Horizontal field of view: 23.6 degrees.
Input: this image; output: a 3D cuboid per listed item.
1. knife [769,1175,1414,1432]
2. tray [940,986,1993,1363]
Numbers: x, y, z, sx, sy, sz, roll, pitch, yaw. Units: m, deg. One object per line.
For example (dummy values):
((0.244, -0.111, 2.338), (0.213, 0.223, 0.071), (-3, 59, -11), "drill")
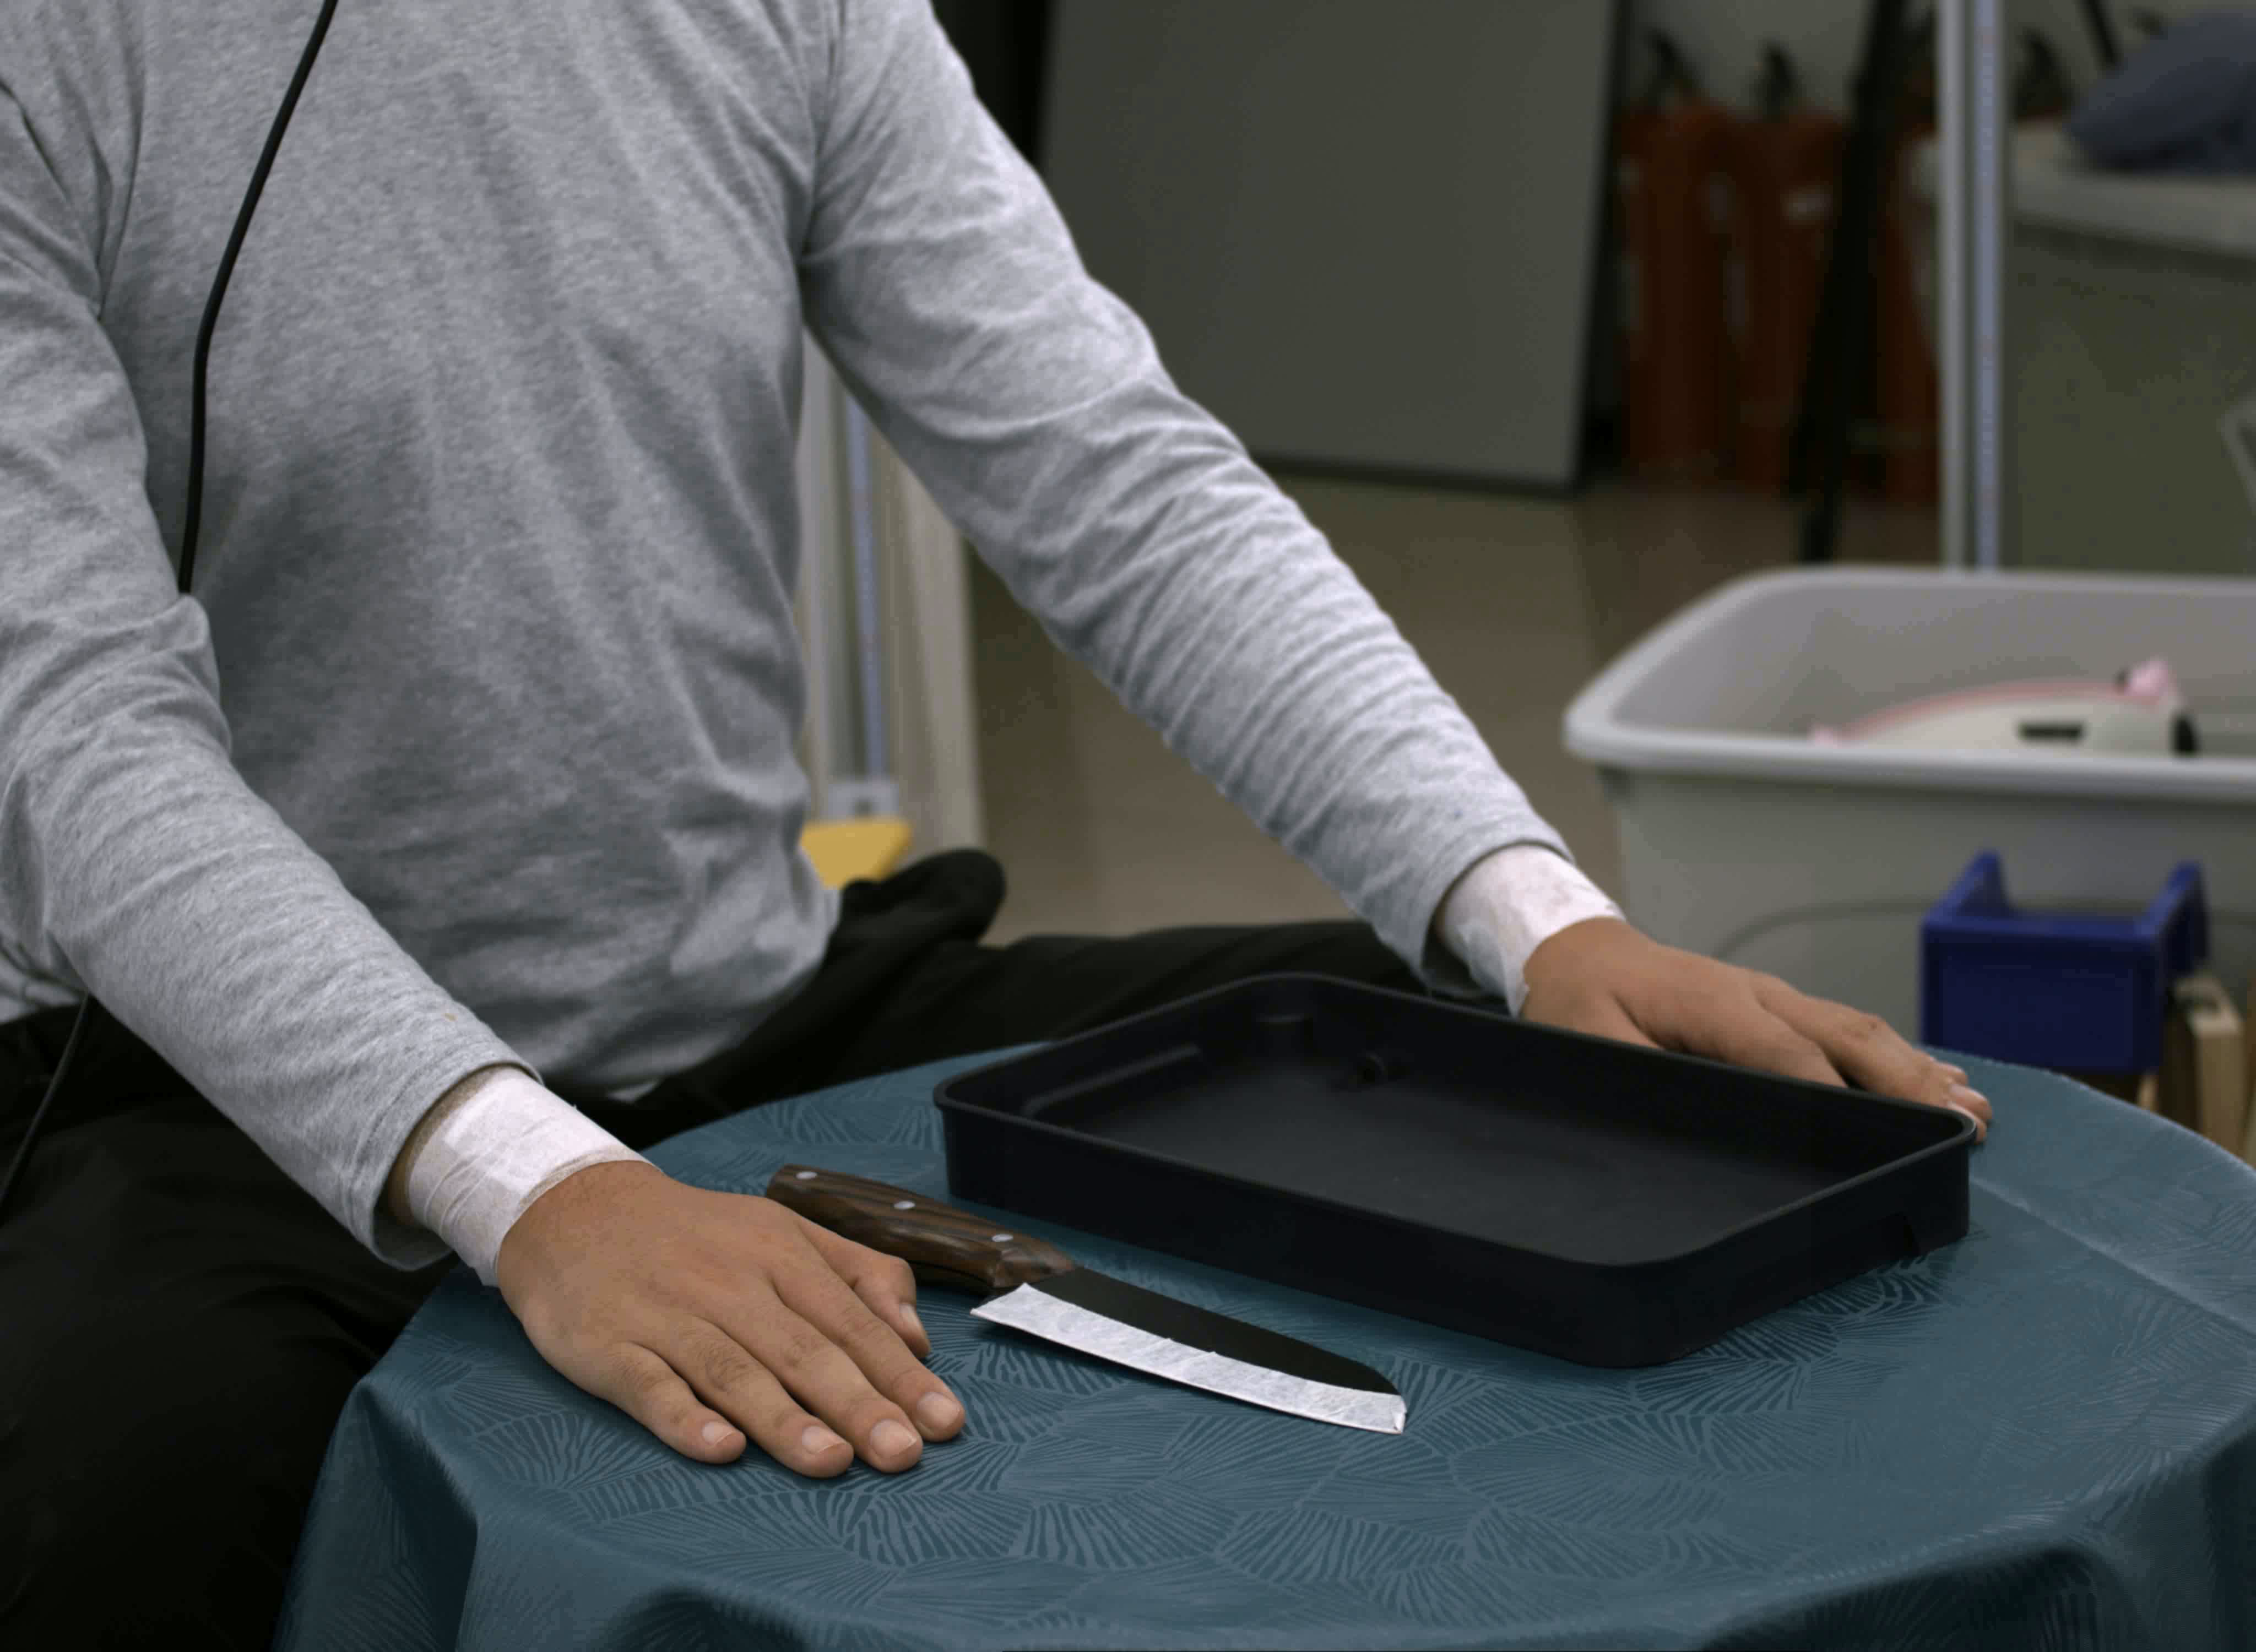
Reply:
((-0.015, 0.147, 1.644), (0.049, 0.020, 0.292), (-22, 24, -37), "knife")
((0.105, 0.107, 1.728), (0.321, 0.037, 0.180), (8, 18, 44), "tray")
